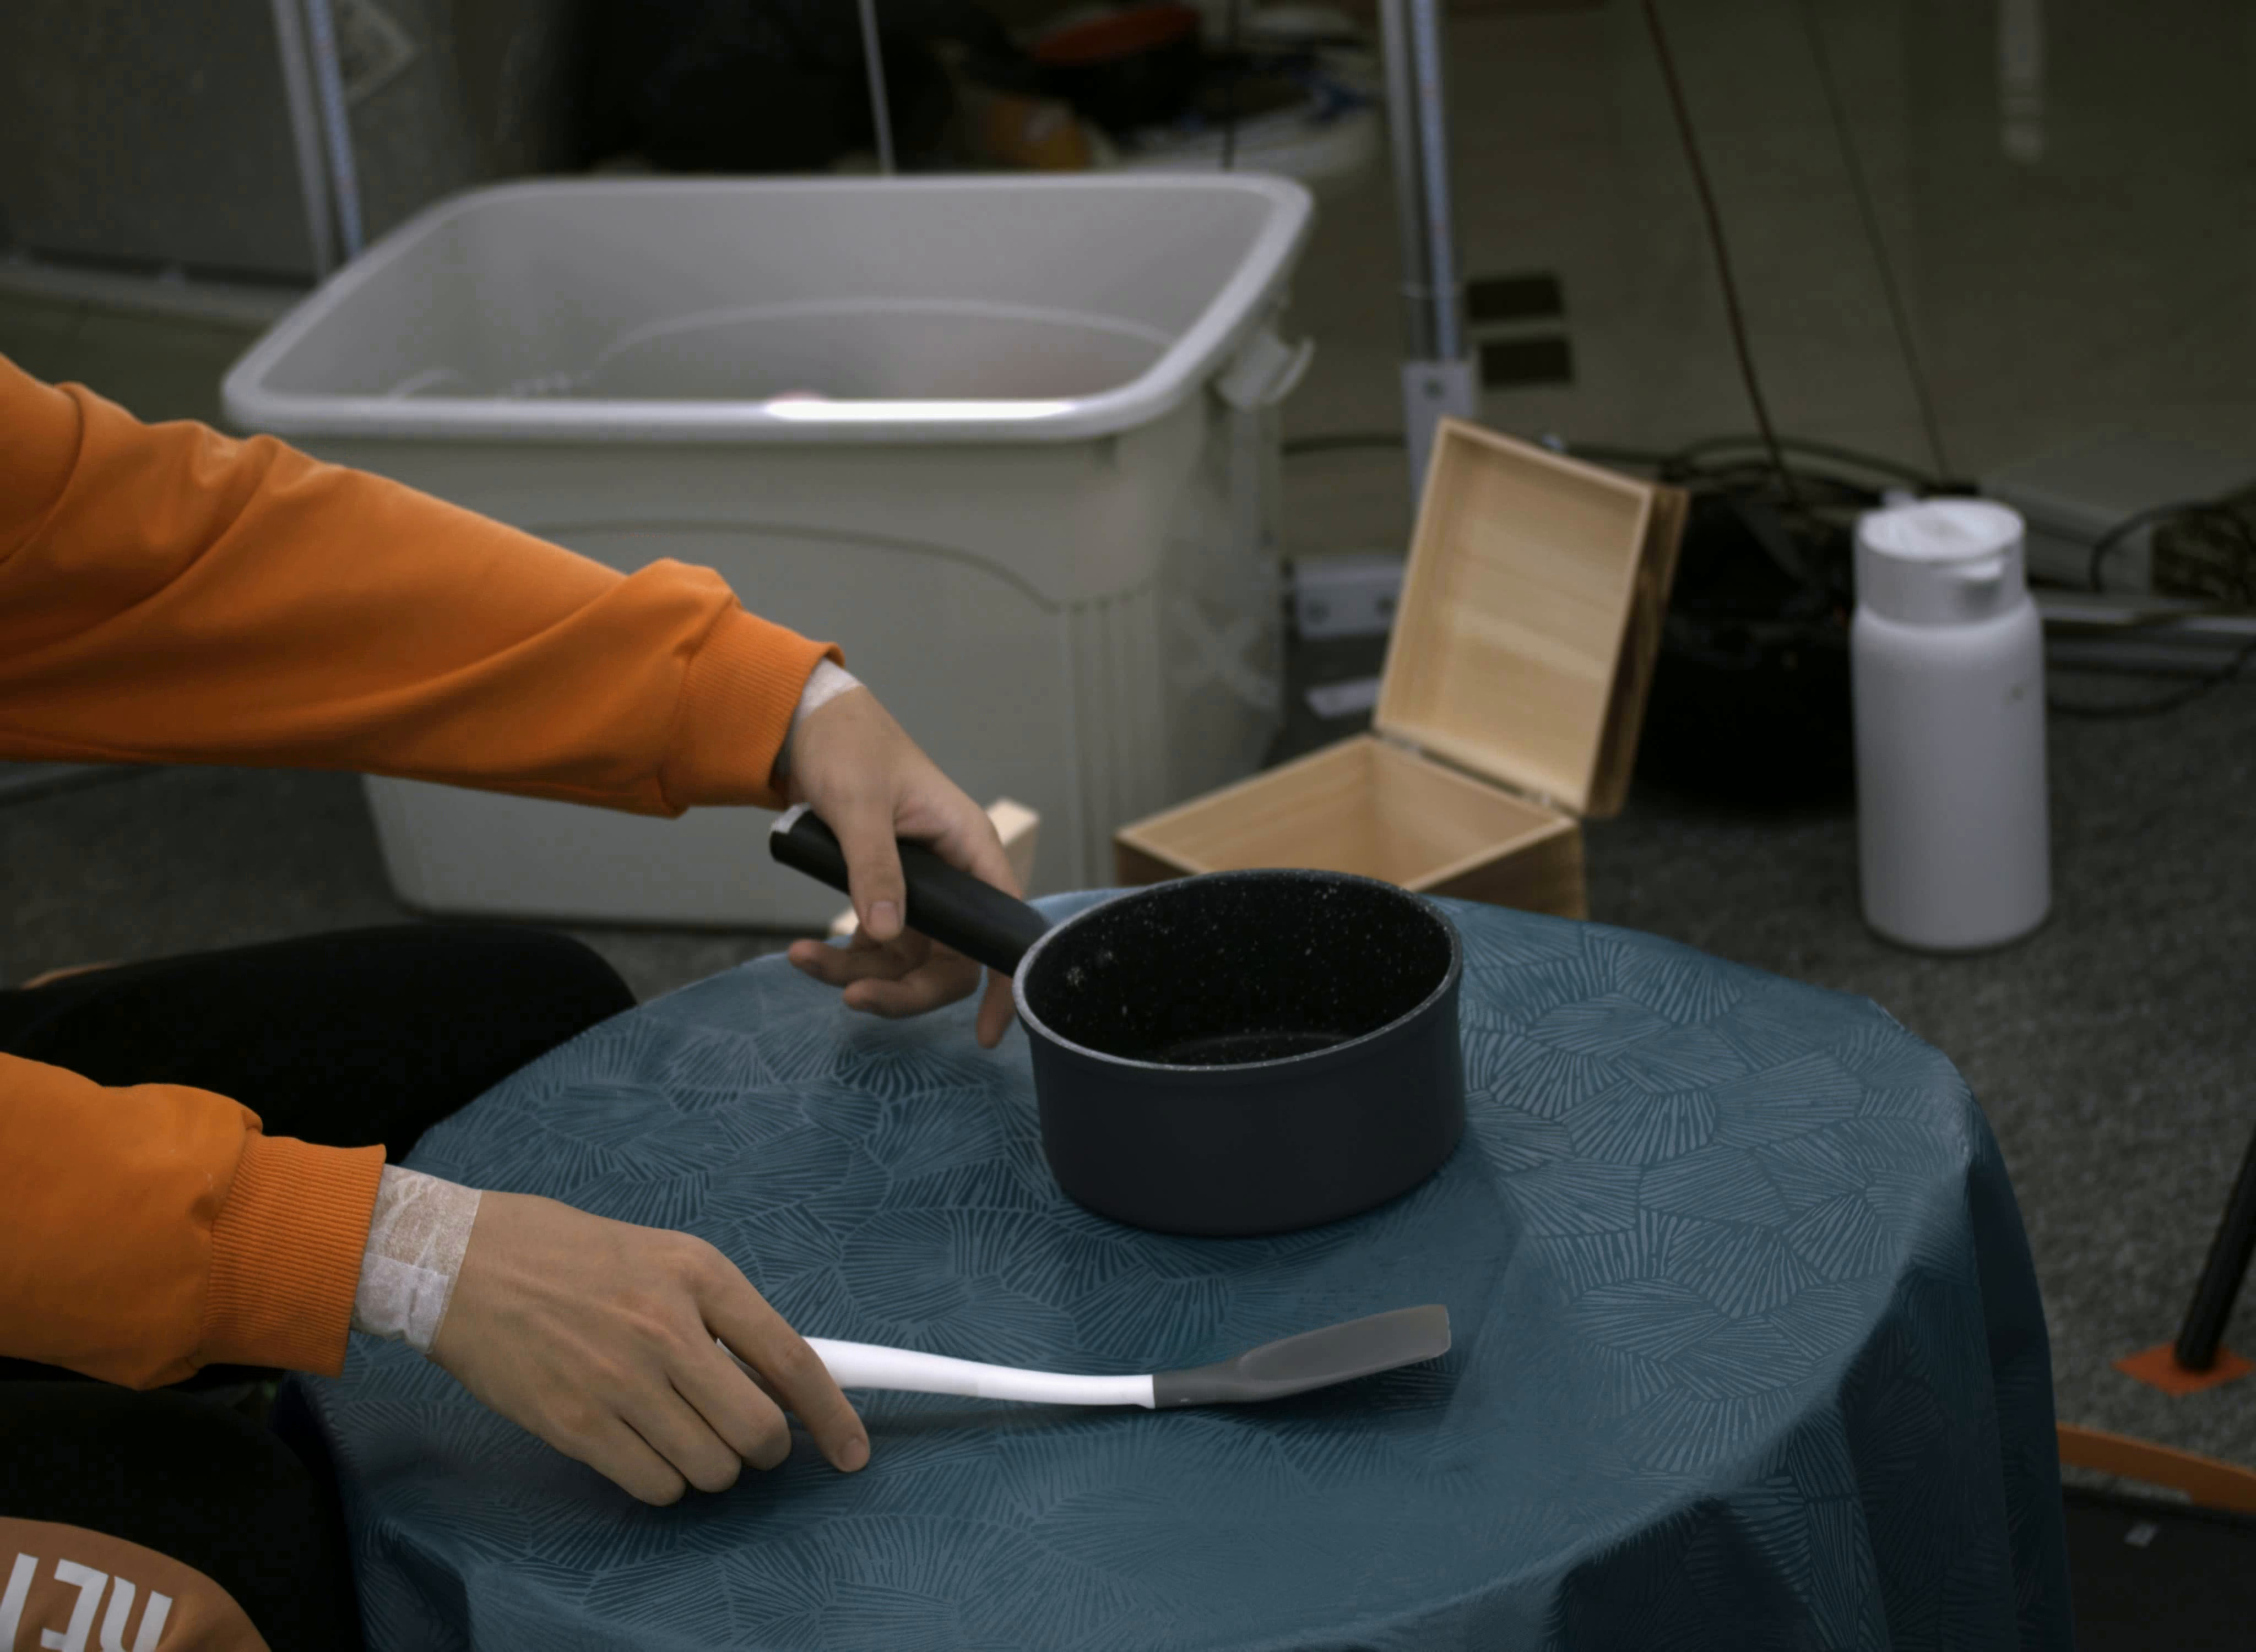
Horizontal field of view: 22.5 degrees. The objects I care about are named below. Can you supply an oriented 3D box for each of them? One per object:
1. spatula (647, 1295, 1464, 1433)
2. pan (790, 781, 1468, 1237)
[{"bbox_3d":[-0.025,0.191,1.999,0.287,0.032,0.058,-3,14,1],"label":"spatula"},{"bbox_3d":[-0.011,0.064,2.208,0.326,0.088,0.170,20,35,41],"label":"pan"}]
